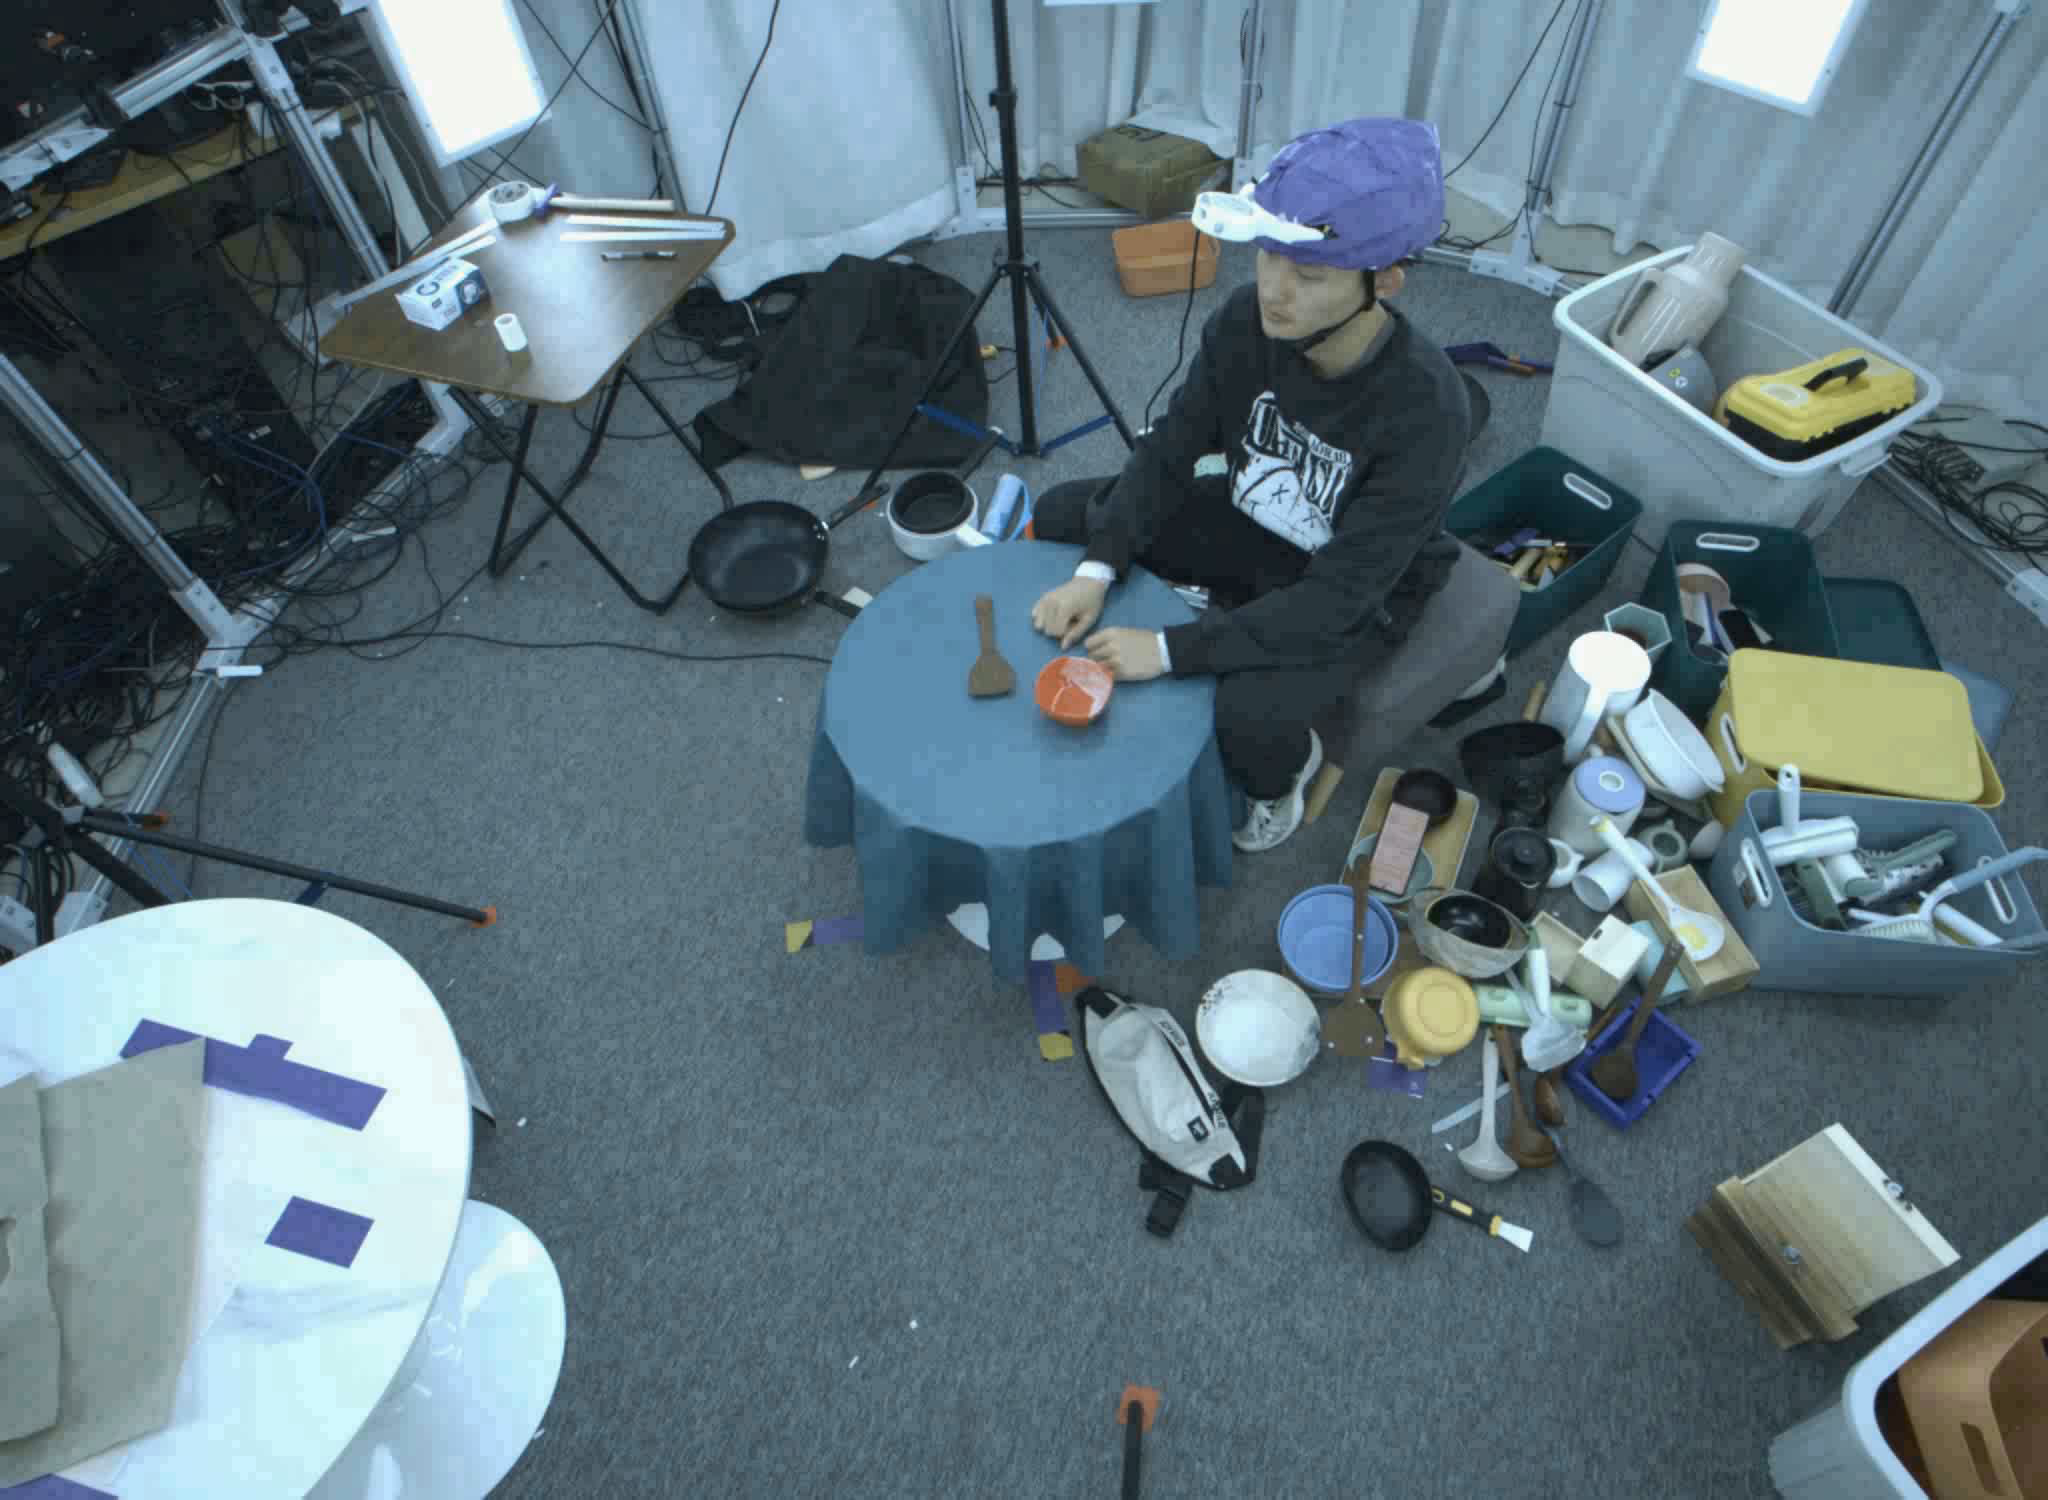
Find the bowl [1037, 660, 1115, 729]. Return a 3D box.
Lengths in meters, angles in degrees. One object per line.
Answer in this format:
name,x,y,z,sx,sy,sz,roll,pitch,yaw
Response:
bowl,0.078,-0.074,1.817,0.118,0.052,0.118,-2,55,4

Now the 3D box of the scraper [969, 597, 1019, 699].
scraper,-0.054,-0.160,1.907,0.076,0.011,0.208,-5,54,-3
